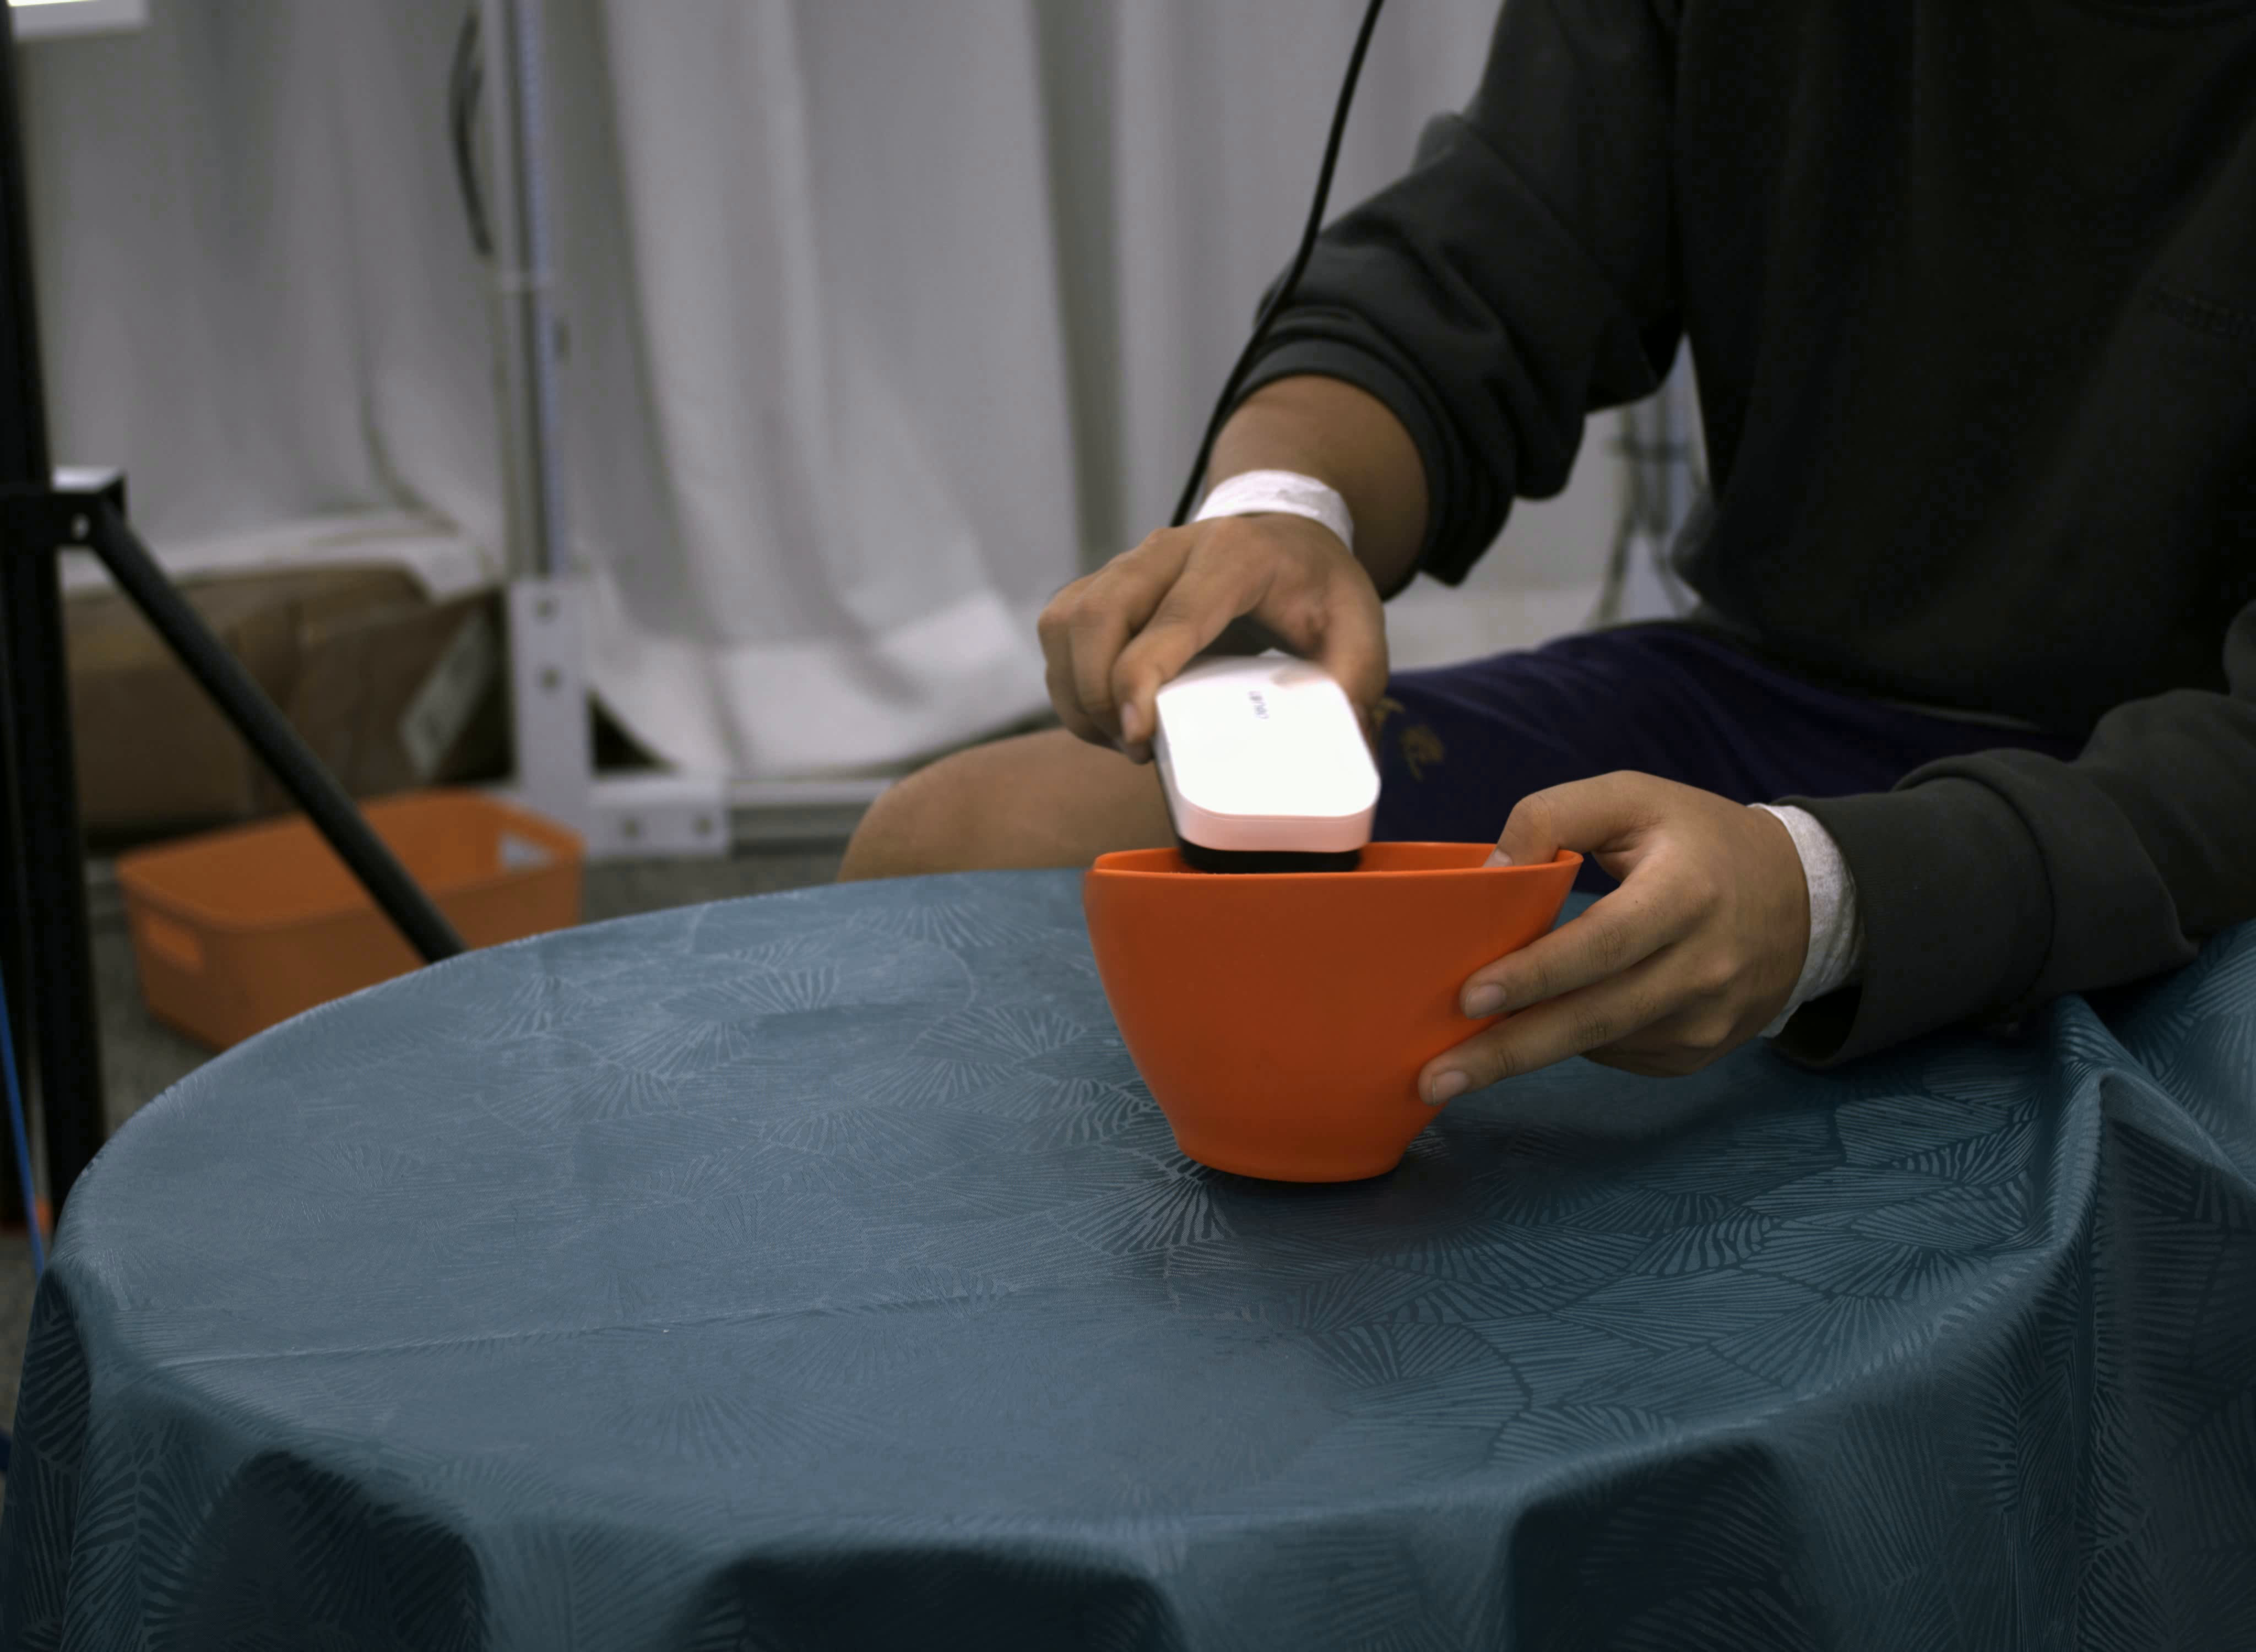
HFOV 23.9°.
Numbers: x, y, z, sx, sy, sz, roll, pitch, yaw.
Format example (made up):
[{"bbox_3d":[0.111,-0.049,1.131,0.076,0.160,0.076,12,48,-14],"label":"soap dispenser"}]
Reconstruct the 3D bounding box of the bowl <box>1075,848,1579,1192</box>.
[{"bbox_3d":[0.055,0.052,1.556,0.147,0.105,0.148,3,11,-2],"label":"bowl"}]

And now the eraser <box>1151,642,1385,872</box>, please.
[{"bbox_3d":[0.043,-0.023,1.645,0.063,0.034,0.132,2,25,-6],"label":"eraser"}]
